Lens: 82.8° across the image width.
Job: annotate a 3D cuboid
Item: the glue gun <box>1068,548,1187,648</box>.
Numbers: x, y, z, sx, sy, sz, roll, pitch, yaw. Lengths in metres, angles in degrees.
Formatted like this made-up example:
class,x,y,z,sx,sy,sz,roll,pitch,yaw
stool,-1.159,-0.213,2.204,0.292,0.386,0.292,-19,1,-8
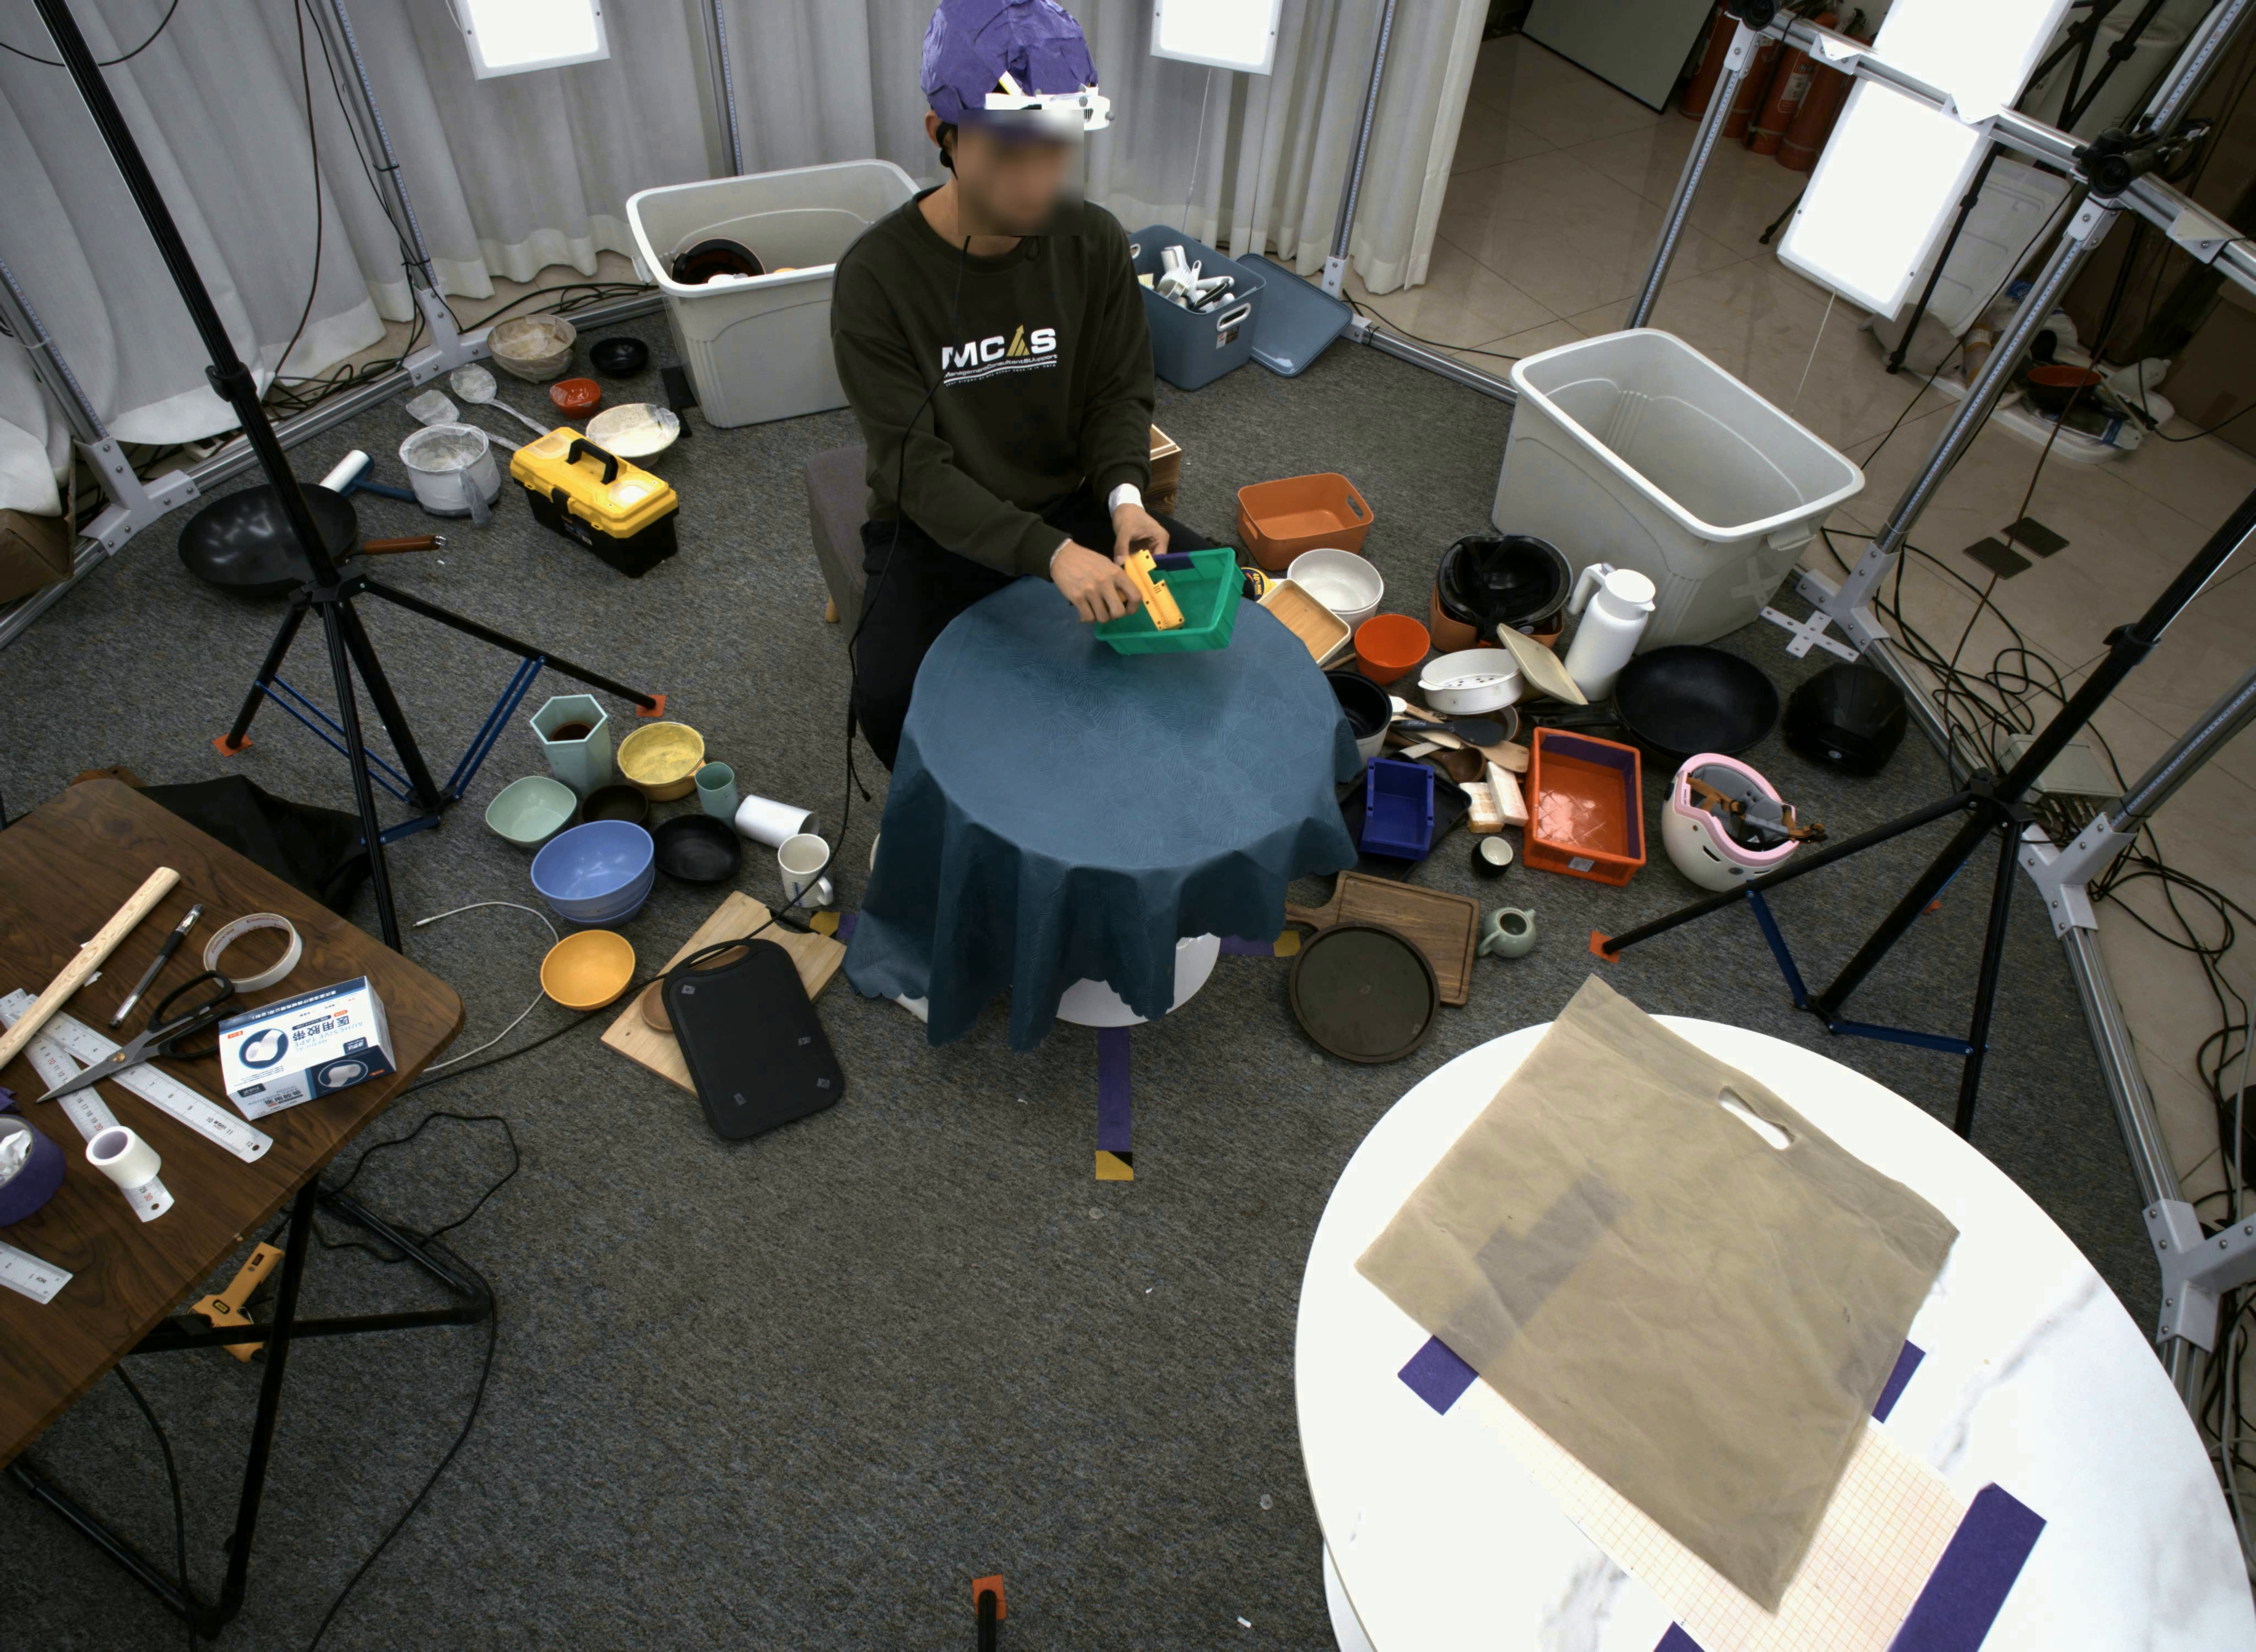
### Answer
class,x,y,z,sx,sy,sz,roll,pitch,yaw
glue gun,0.010,-0.293,1.804,0.133,0.150,0.031,-33,8,4

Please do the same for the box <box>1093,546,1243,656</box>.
class,x,y,z,sx,sy,sz,roll,pitch,yaw
box,0.061,-0.314,1.831,0.211,0.064,0.141,-2,61,34
